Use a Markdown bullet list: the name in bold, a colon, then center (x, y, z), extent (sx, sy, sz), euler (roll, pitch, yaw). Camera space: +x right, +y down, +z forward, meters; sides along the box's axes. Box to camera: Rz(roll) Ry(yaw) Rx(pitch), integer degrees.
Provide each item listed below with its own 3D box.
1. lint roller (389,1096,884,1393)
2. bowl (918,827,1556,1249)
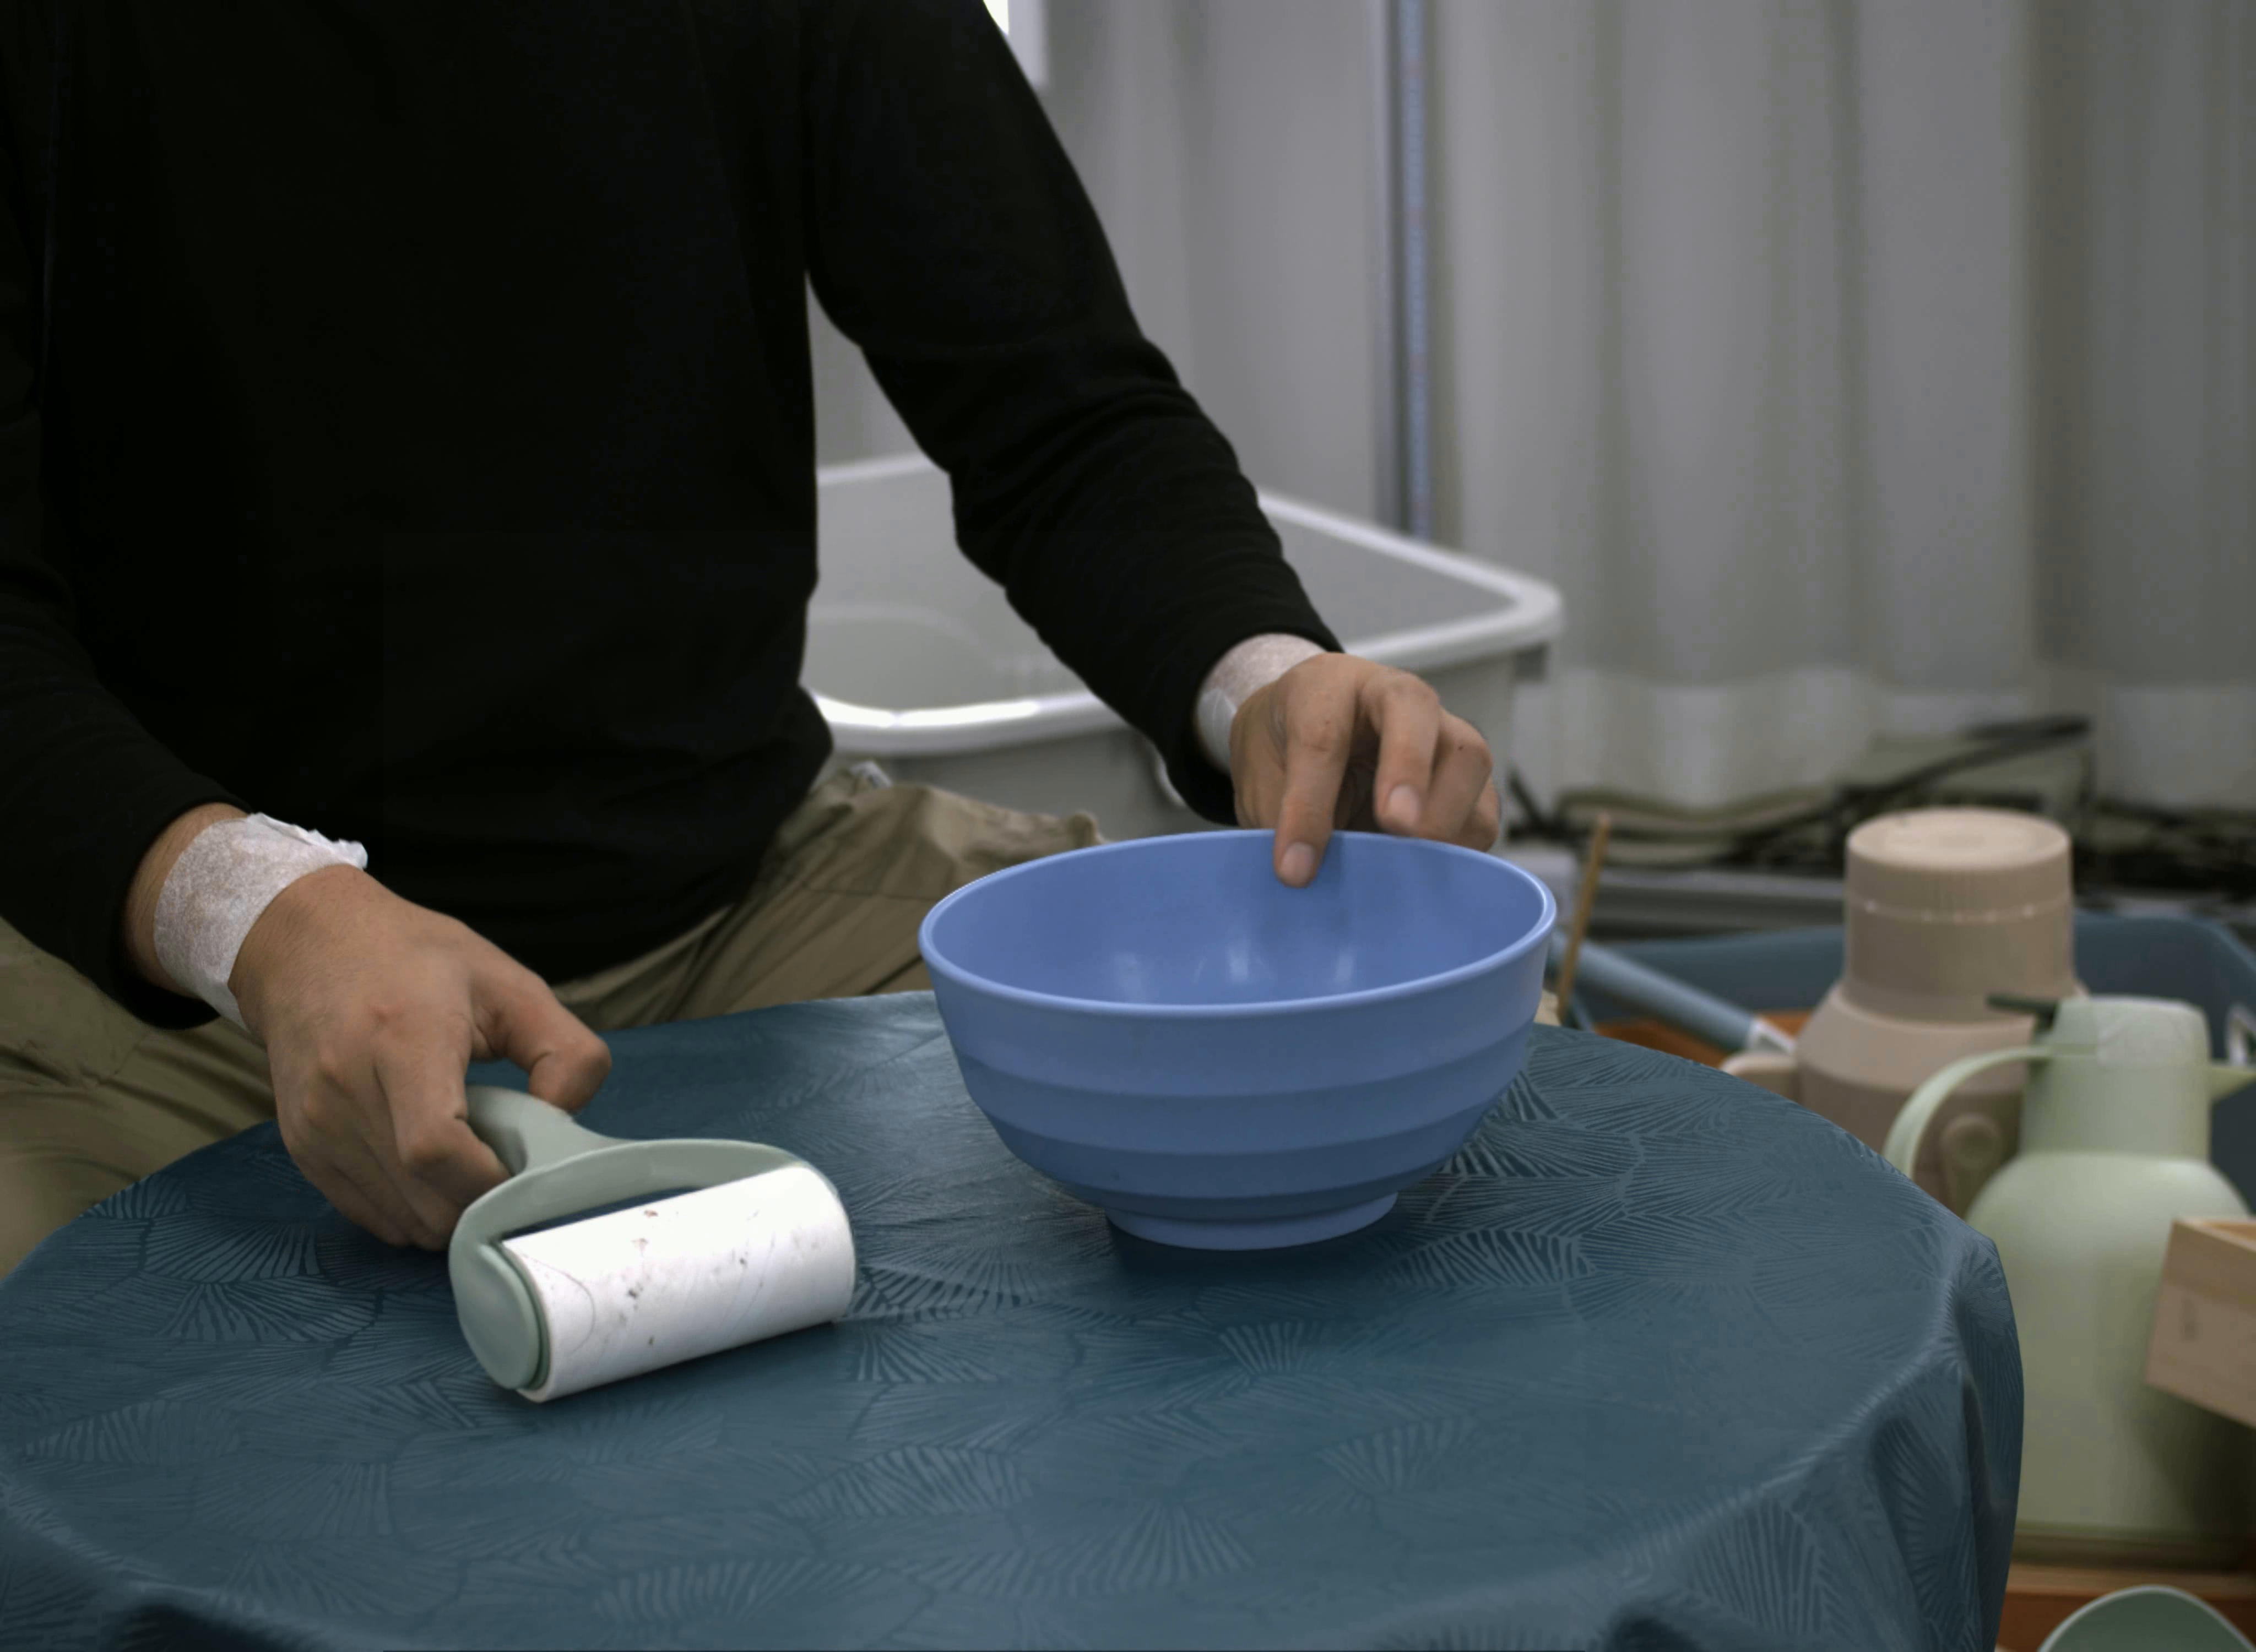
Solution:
- **lint roller**: center (-0.167, 0.109, 1.645), extent (0.116, 0.048, 0.199), euler (-14, 24, -31)
- **bowl**: center (0.036, 0.071, 1.686), extent (0.196, 0.095, 0.198), euler (-4, 15, 1)
